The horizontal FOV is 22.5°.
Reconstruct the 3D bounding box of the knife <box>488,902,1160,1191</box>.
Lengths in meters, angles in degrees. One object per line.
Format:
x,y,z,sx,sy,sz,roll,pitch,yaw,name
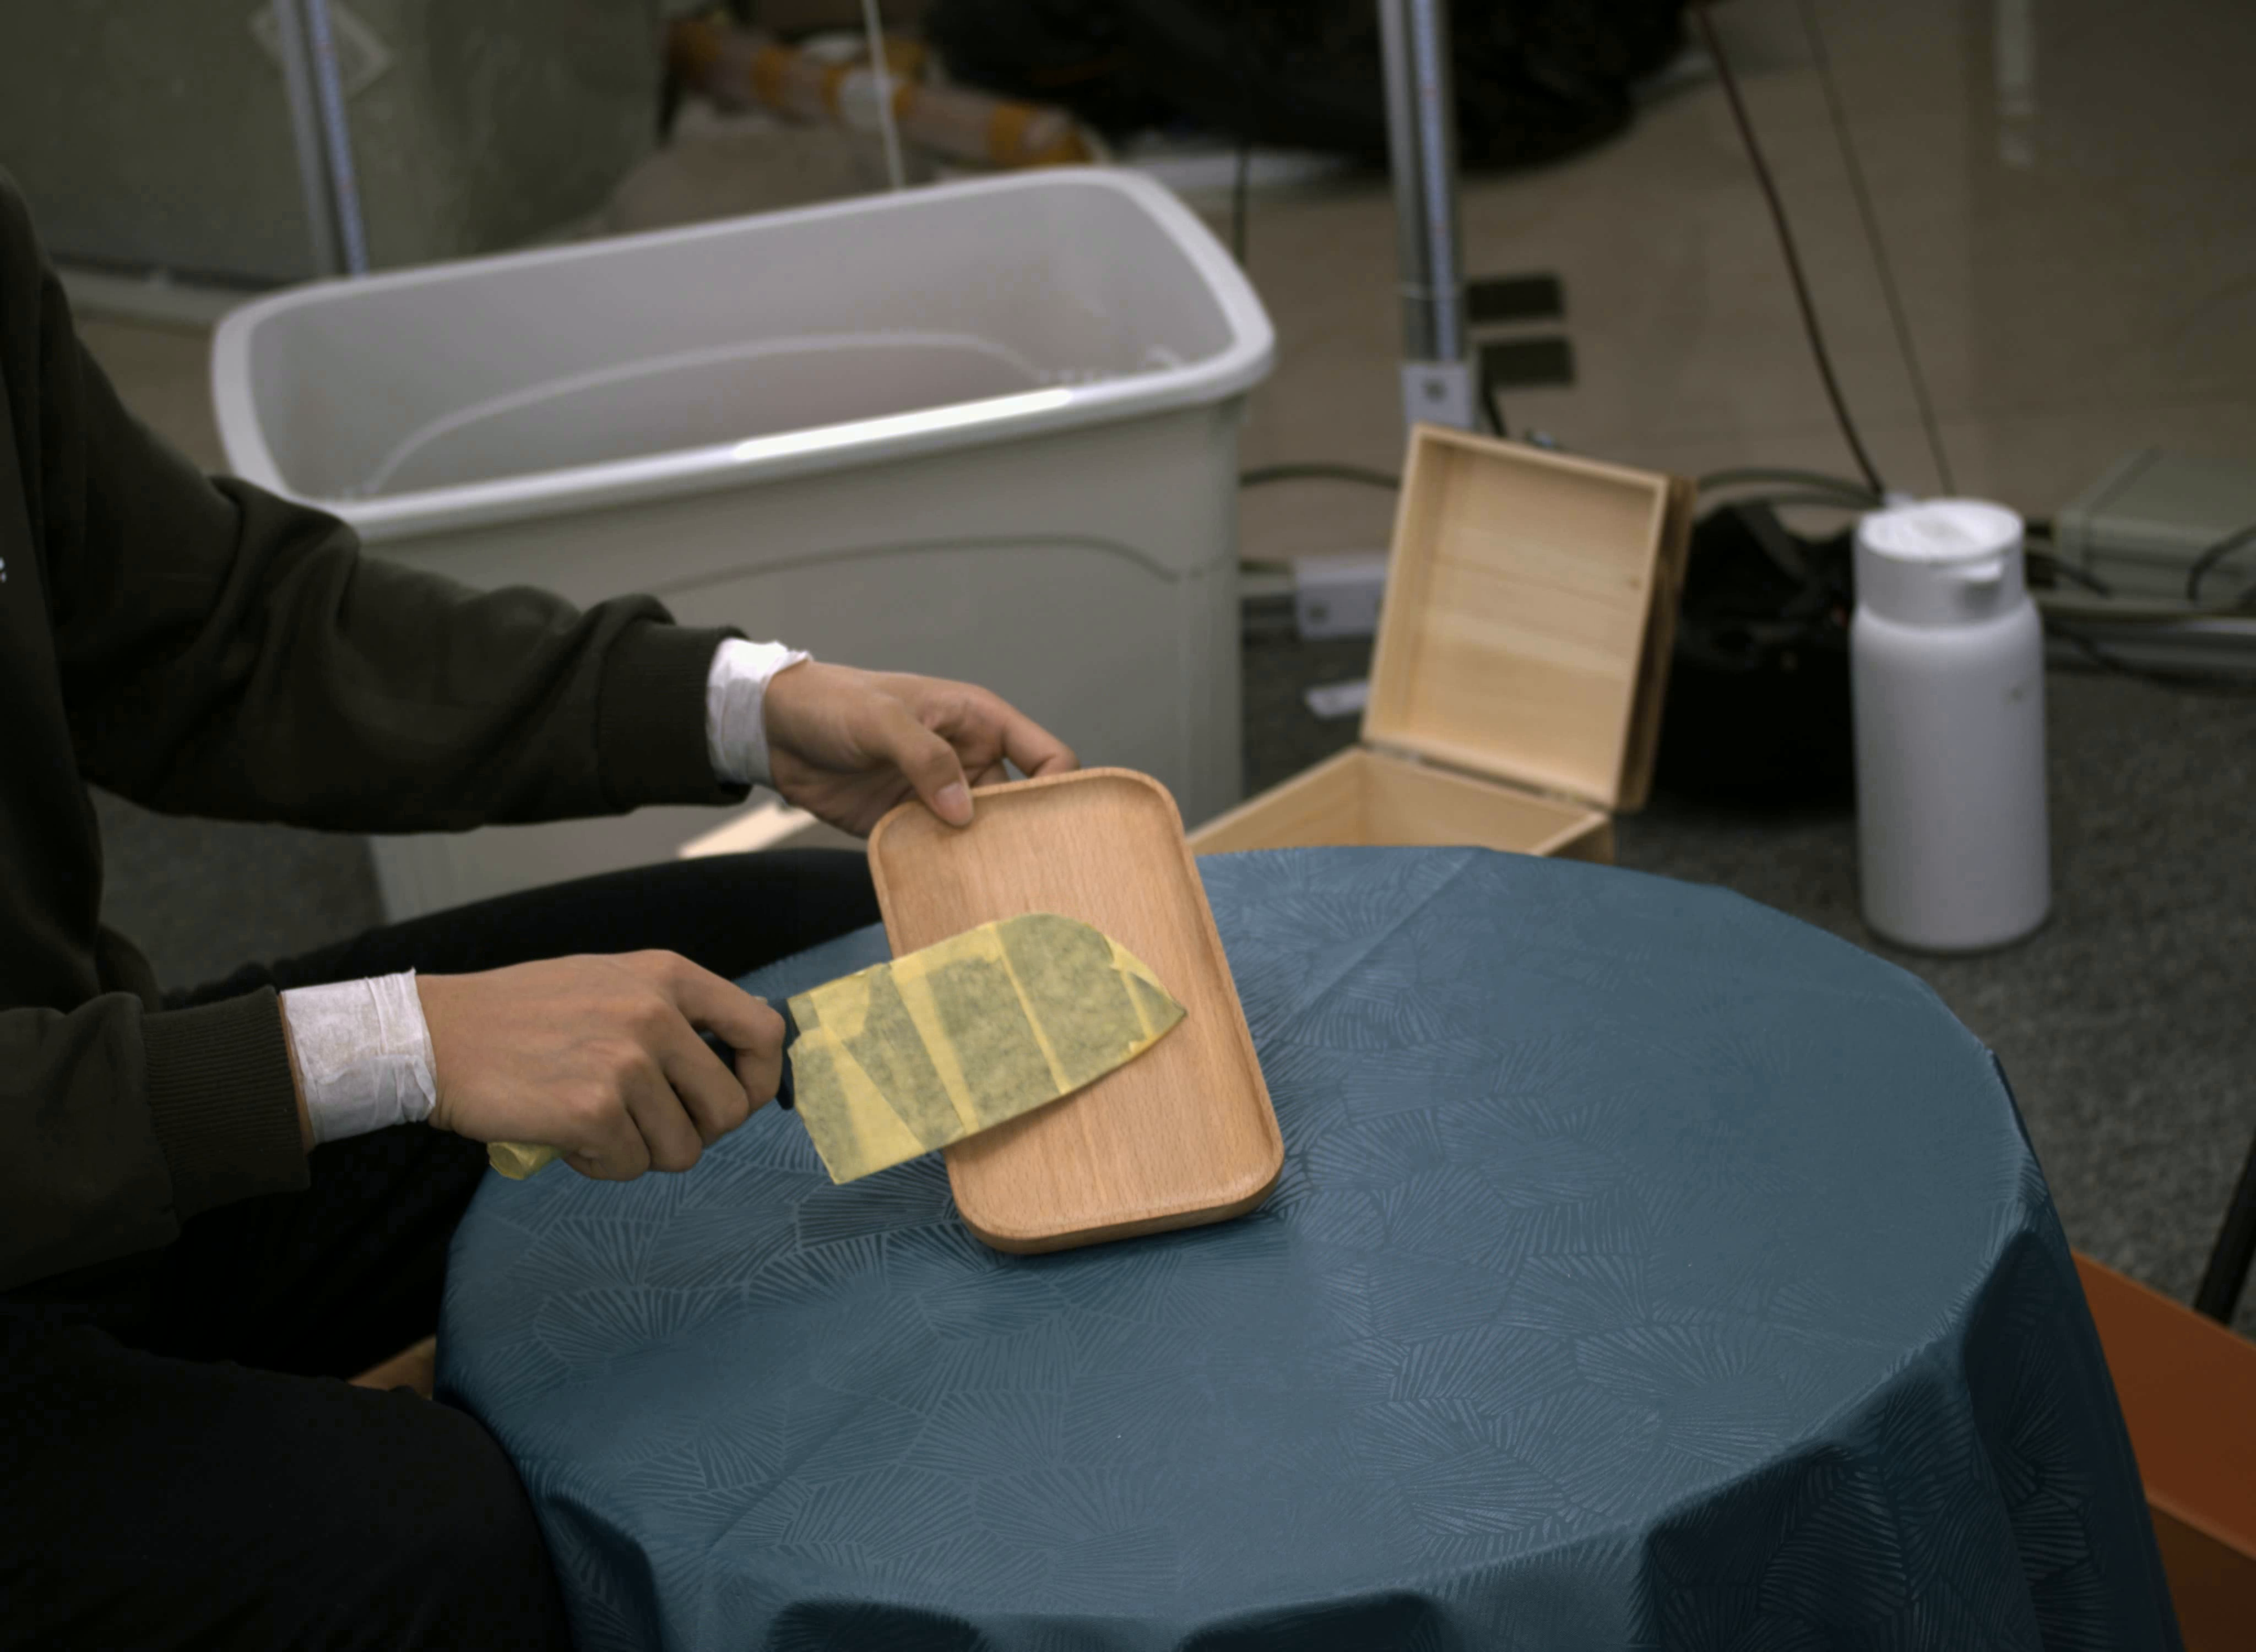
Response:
-0.107,0.092,2.119,0.288,0.081,0.027,-18,-10,-30,knife

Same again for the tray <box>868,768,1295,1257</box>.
-0.020,0.070,2.198,0.130,0.023,0.246,-12,45,-5,tray
